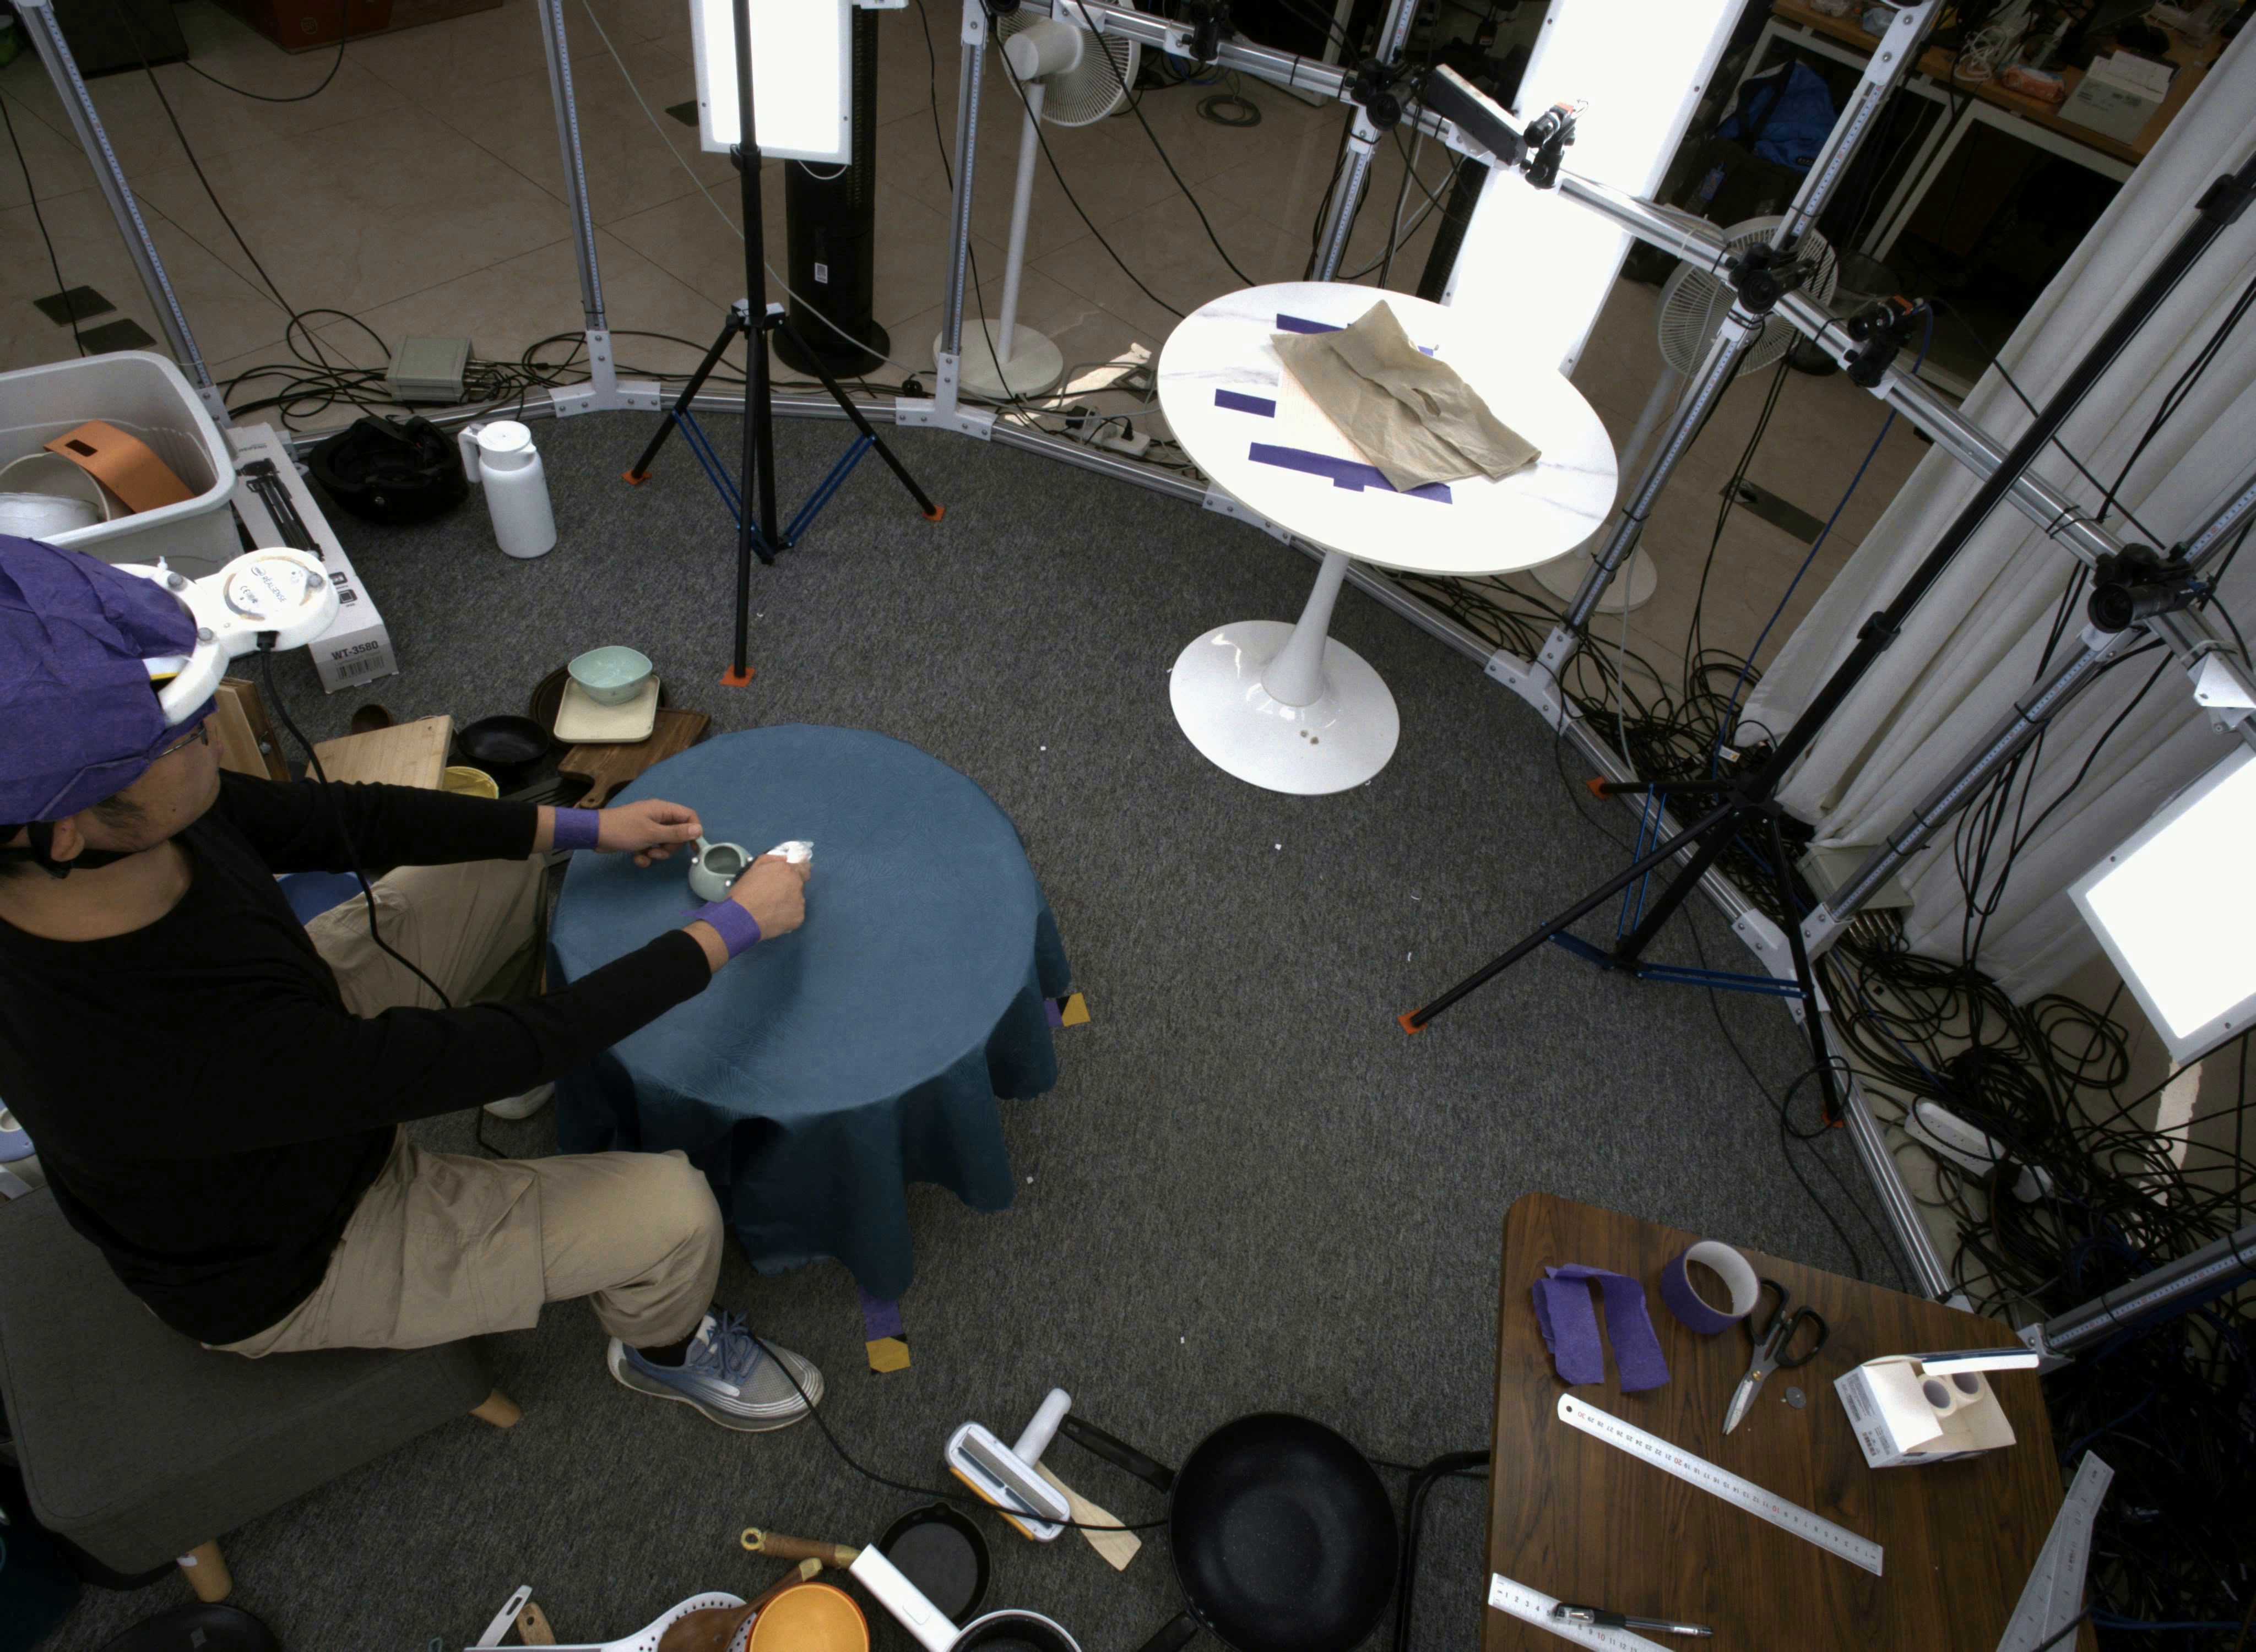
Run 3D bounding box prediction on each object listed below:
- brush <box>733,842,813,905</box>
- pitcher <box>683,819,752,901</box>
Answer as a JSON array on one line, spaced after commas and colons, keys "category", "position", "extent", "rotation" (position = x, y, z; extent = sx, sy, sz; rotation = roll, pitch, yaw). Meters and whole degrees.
[{"category": "brush", "position": [-0.430, 0.052, 1.595], "extent": [0.051, 0.071, 0.099], "rotation": [60, 41, -11]}, {"category": "pitcher", "position": [-0.526, 0.039, 1.632], "extent": [0.086, 0.060, 0.107], "rotation": [-32, 83, -20]}]
